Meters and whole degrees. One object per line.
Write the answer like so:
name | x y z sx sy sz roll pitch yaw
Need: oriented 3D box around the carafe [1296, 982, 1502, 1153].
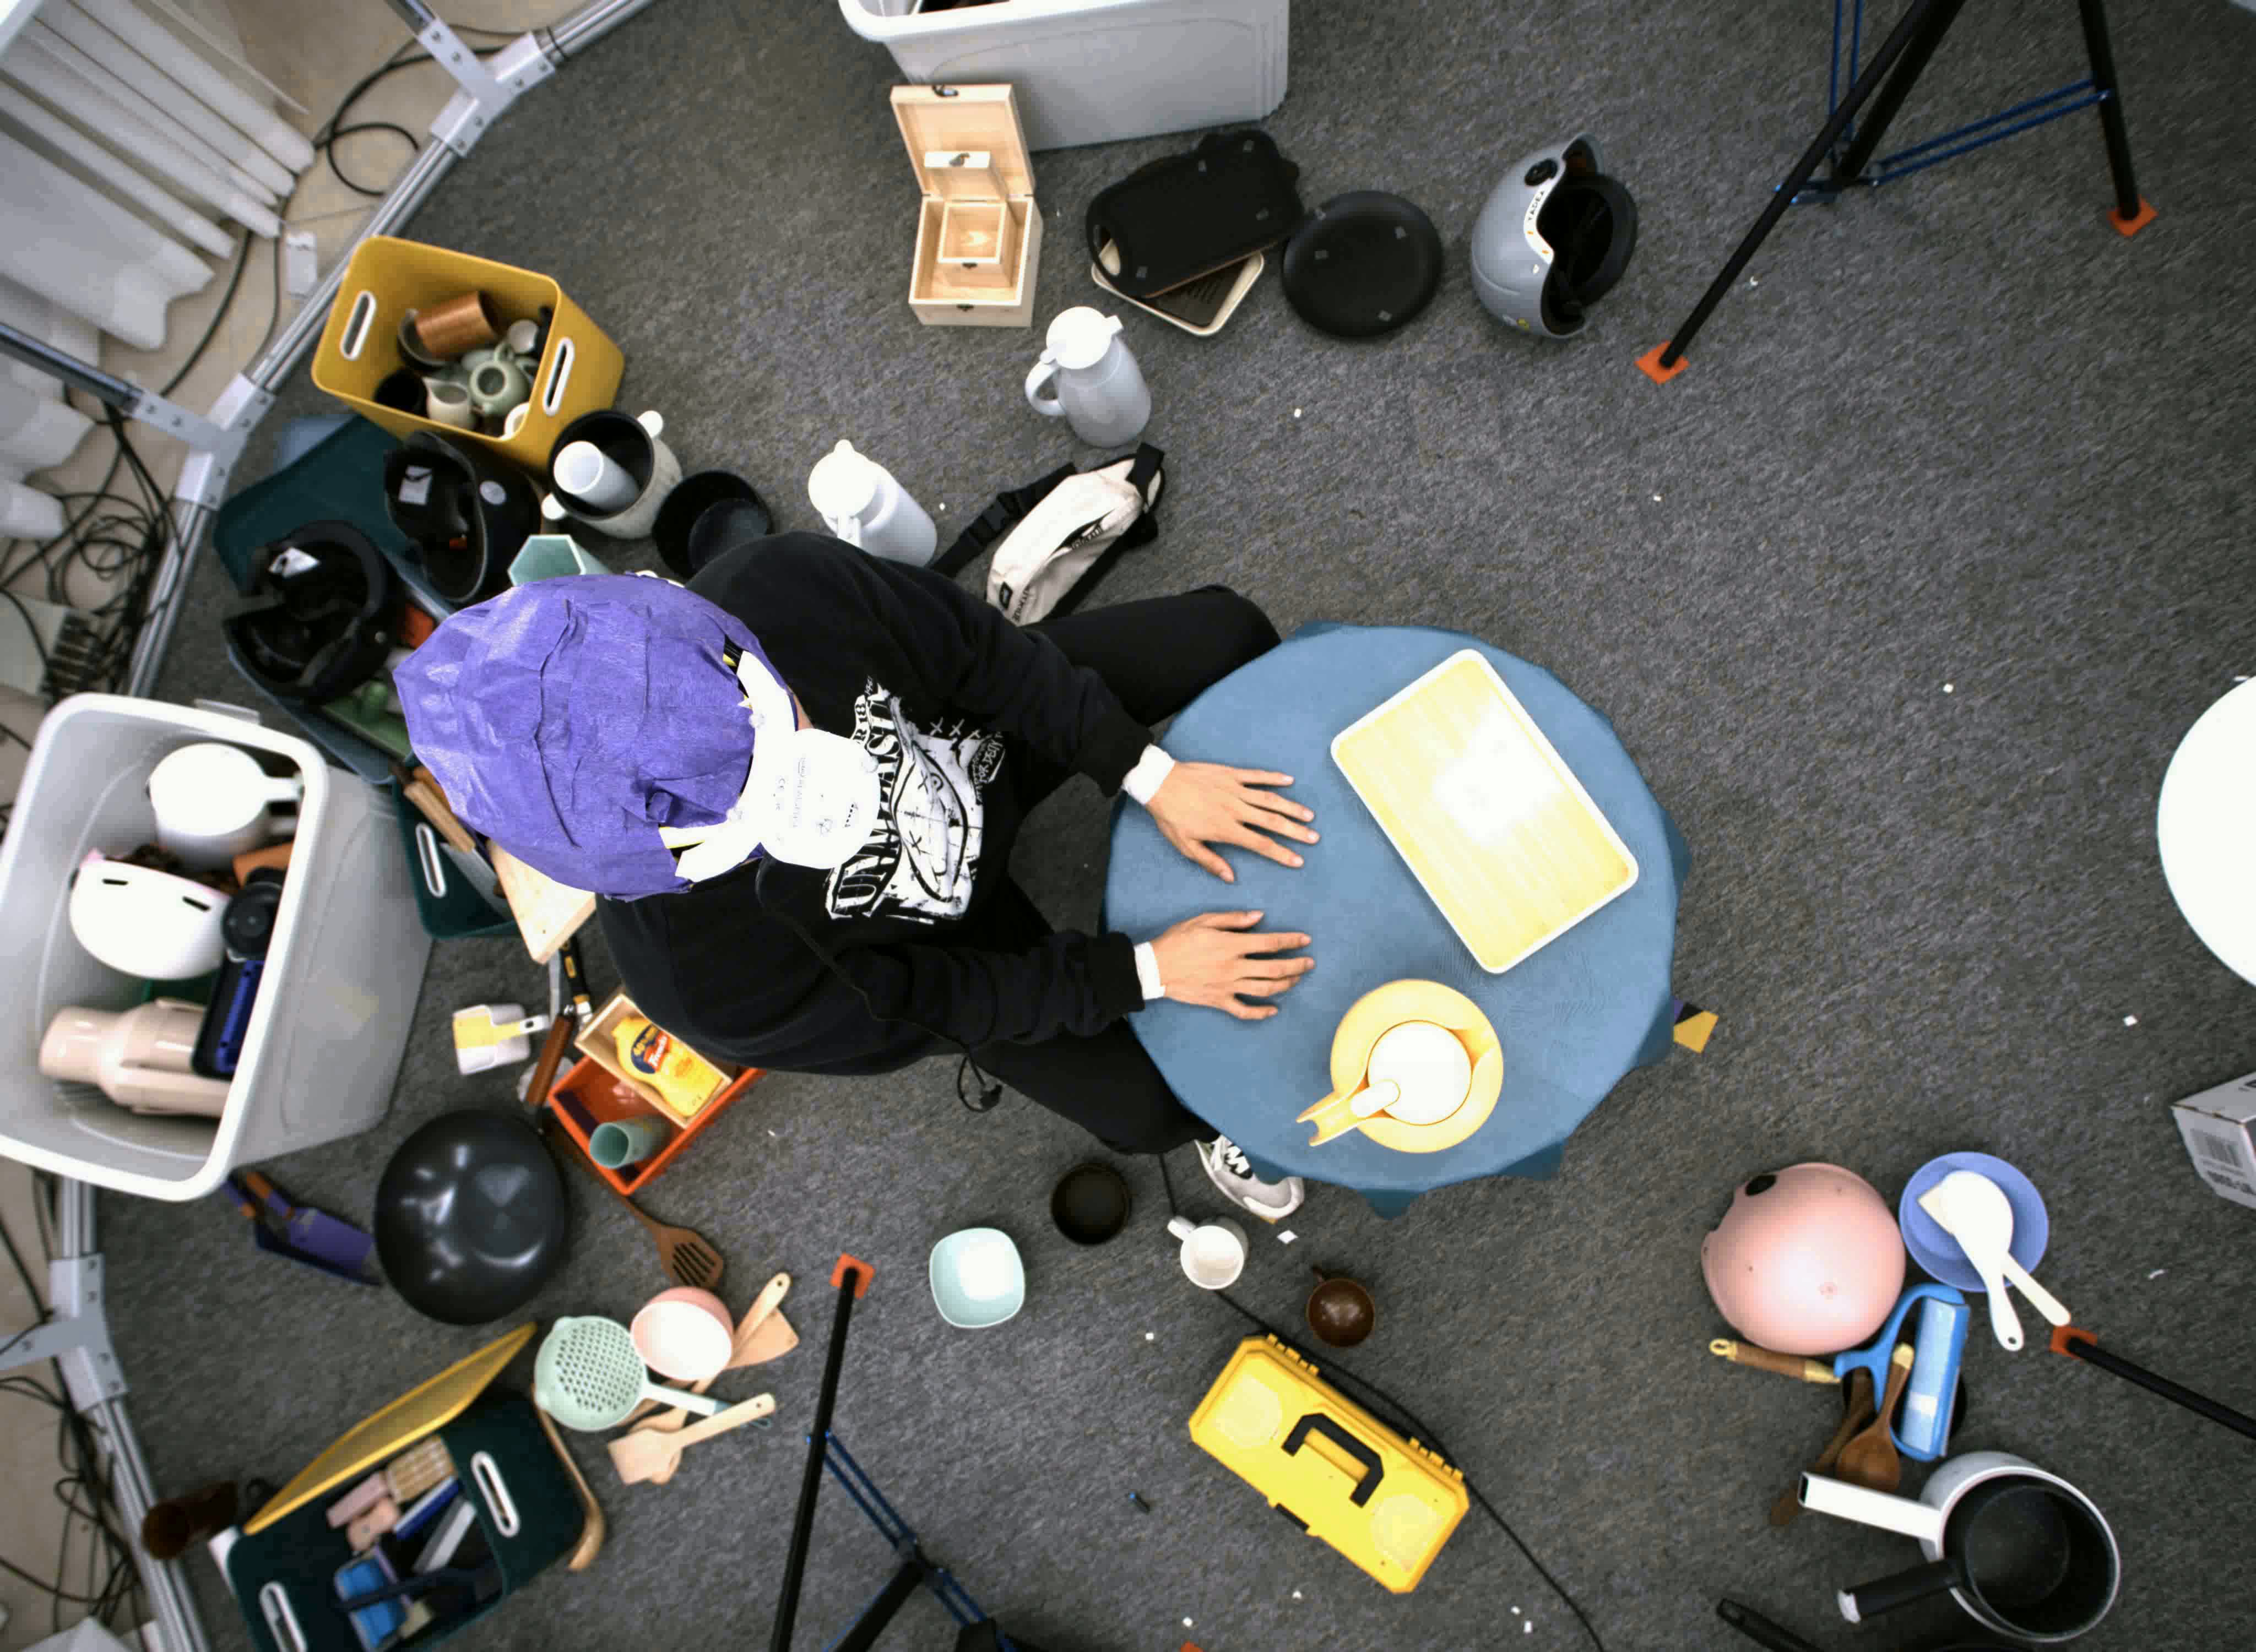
carafe | 0.256 0.236 1.323 0.203 0.261 0.162 -27 79 5

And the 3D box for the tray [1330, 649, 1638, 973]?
tray | 0.368 -0.018 1.433 0.192 0.027 0.298 -35 81 7
